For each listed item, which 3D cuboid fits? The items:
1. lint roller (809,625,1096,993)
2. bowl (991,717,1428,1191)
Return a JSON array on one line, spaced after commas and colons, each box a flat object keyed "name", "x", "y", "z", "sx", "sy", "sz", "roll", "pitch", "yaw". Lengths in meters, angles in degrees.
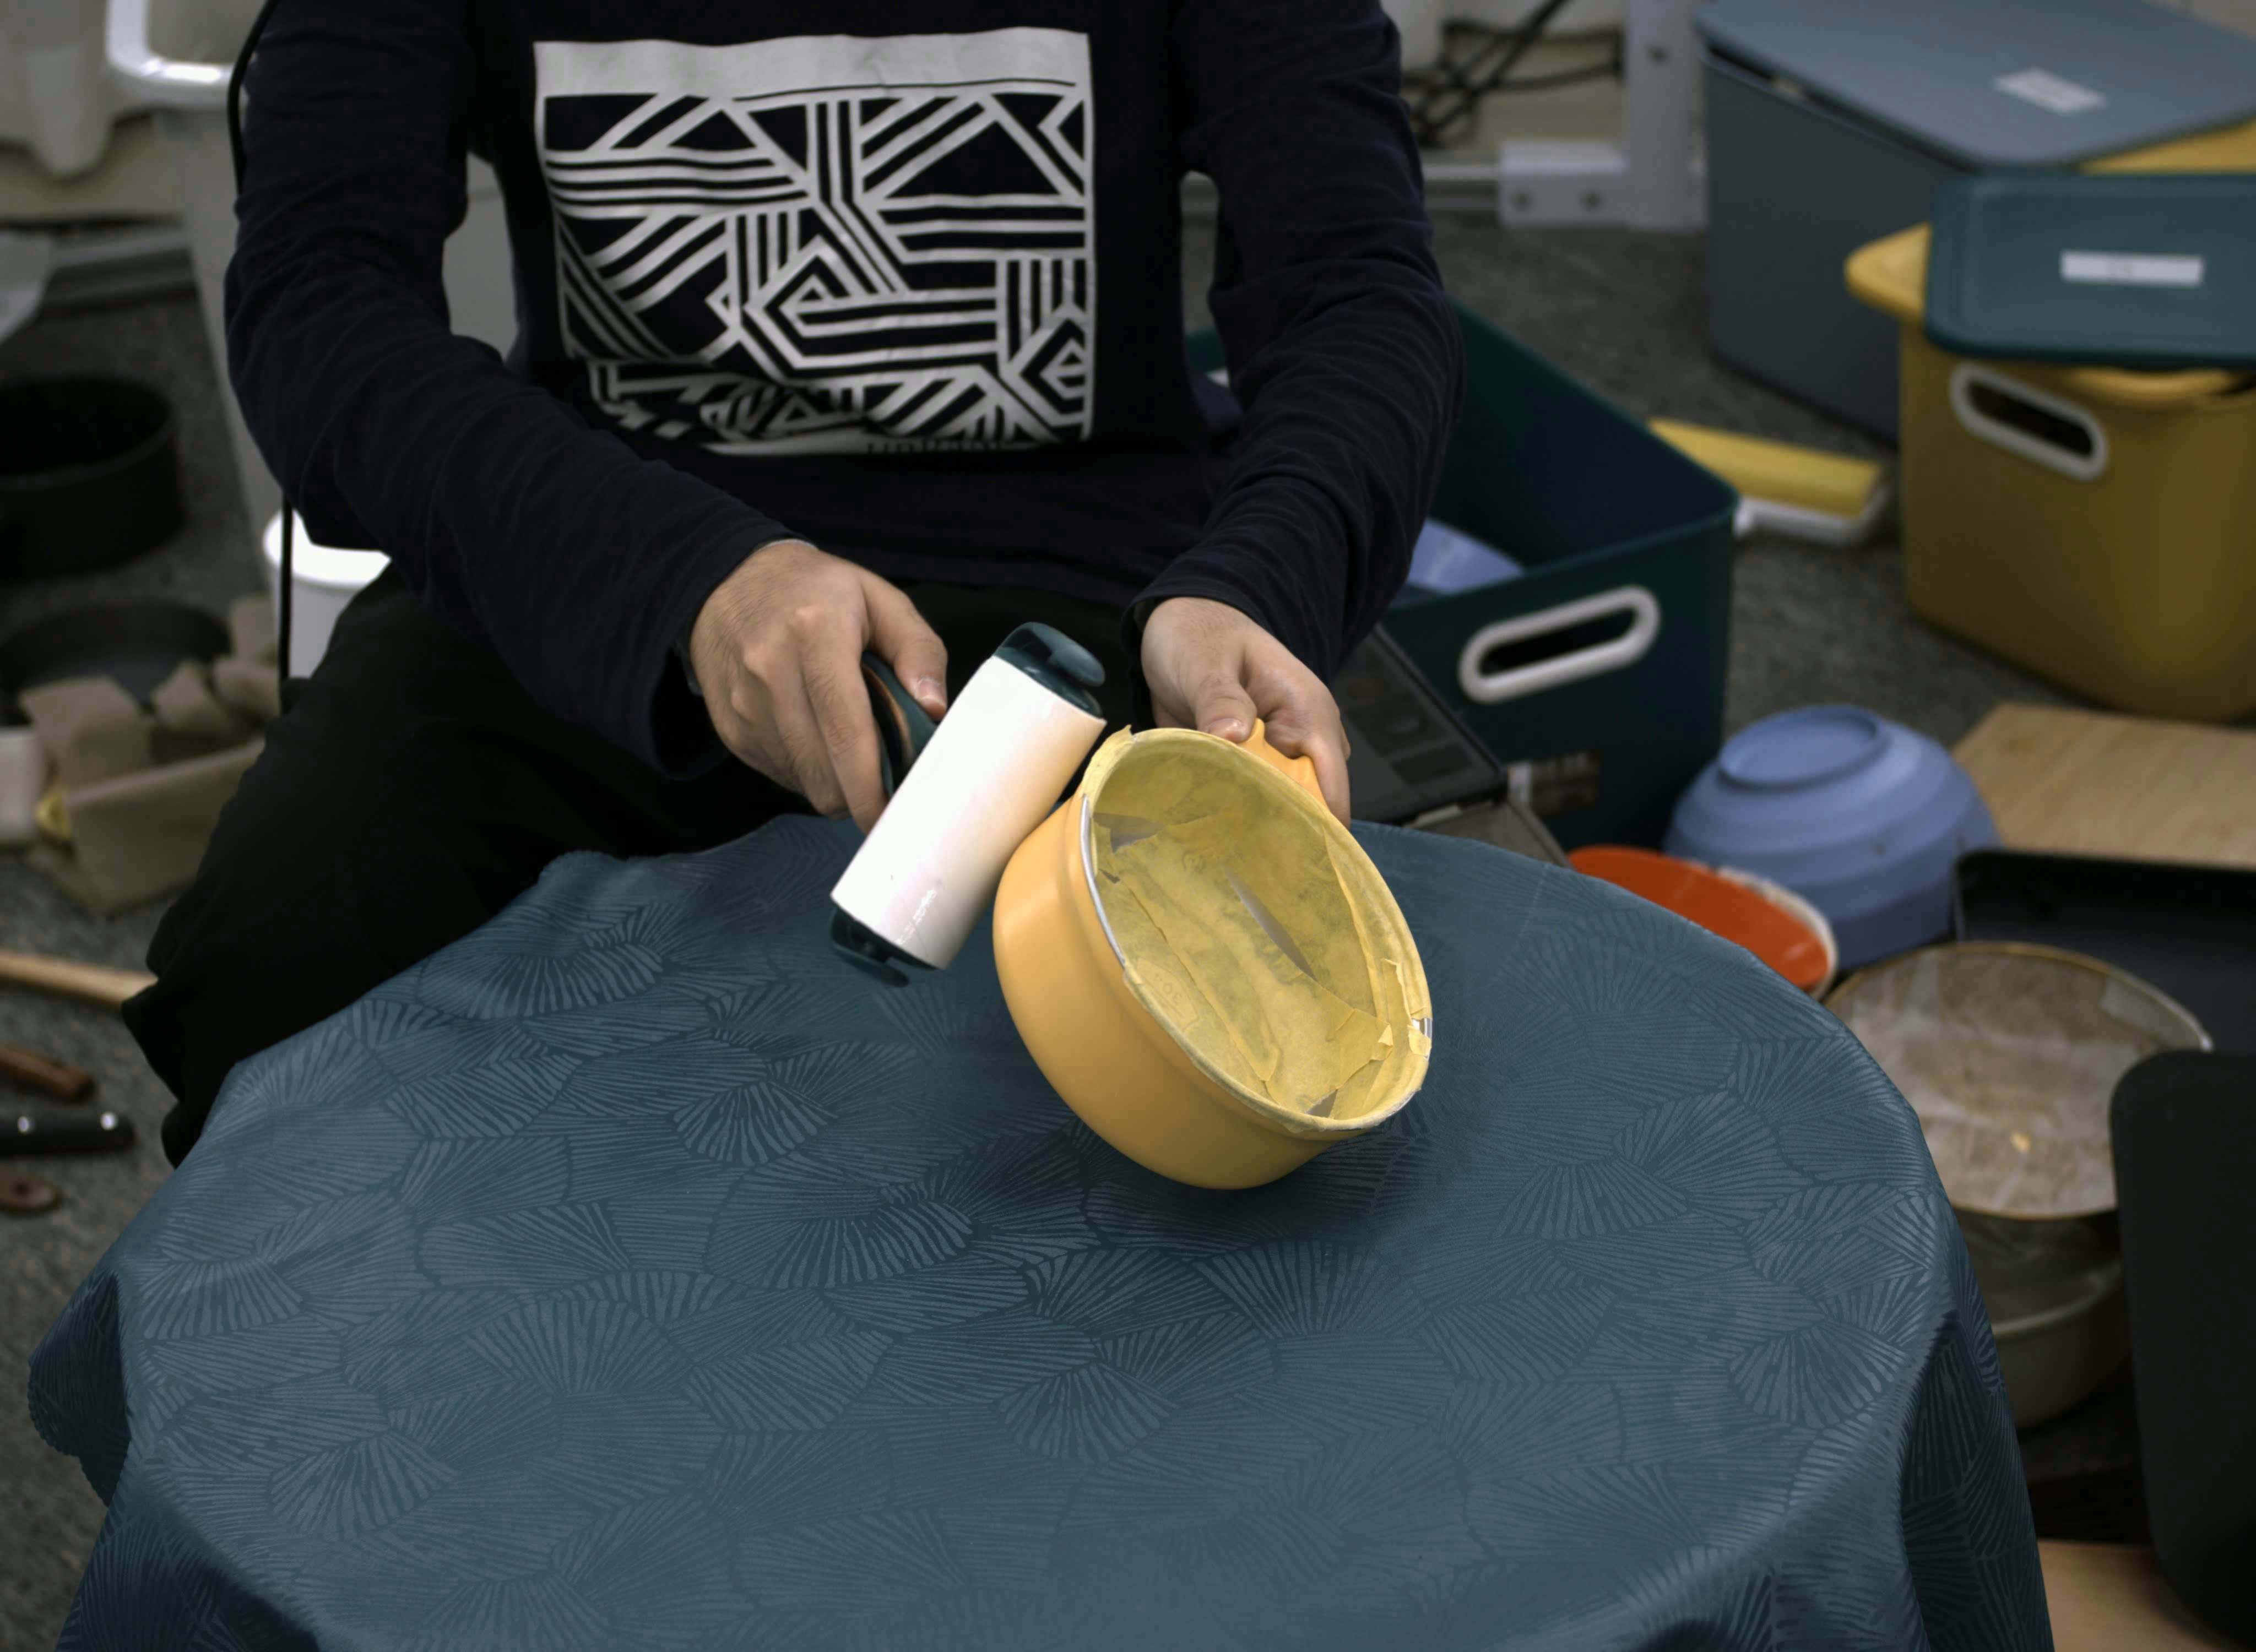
[{"name": "lint roller", "x": -0.084, "y": -0.027, "z": 1.929, "sx": 0.048, "sy": 0.134, "sz": 0.181, "roll": 32, "pitch": 3, "yaw": -33}, {"name": "bowl", "x": 0.025, "y": 0.040, "z": 1.870, "sx": 0.152, "sy": 0.073, "sz": 0.183, "roll": 31, "pitch": 38, "yaw": -23}]
